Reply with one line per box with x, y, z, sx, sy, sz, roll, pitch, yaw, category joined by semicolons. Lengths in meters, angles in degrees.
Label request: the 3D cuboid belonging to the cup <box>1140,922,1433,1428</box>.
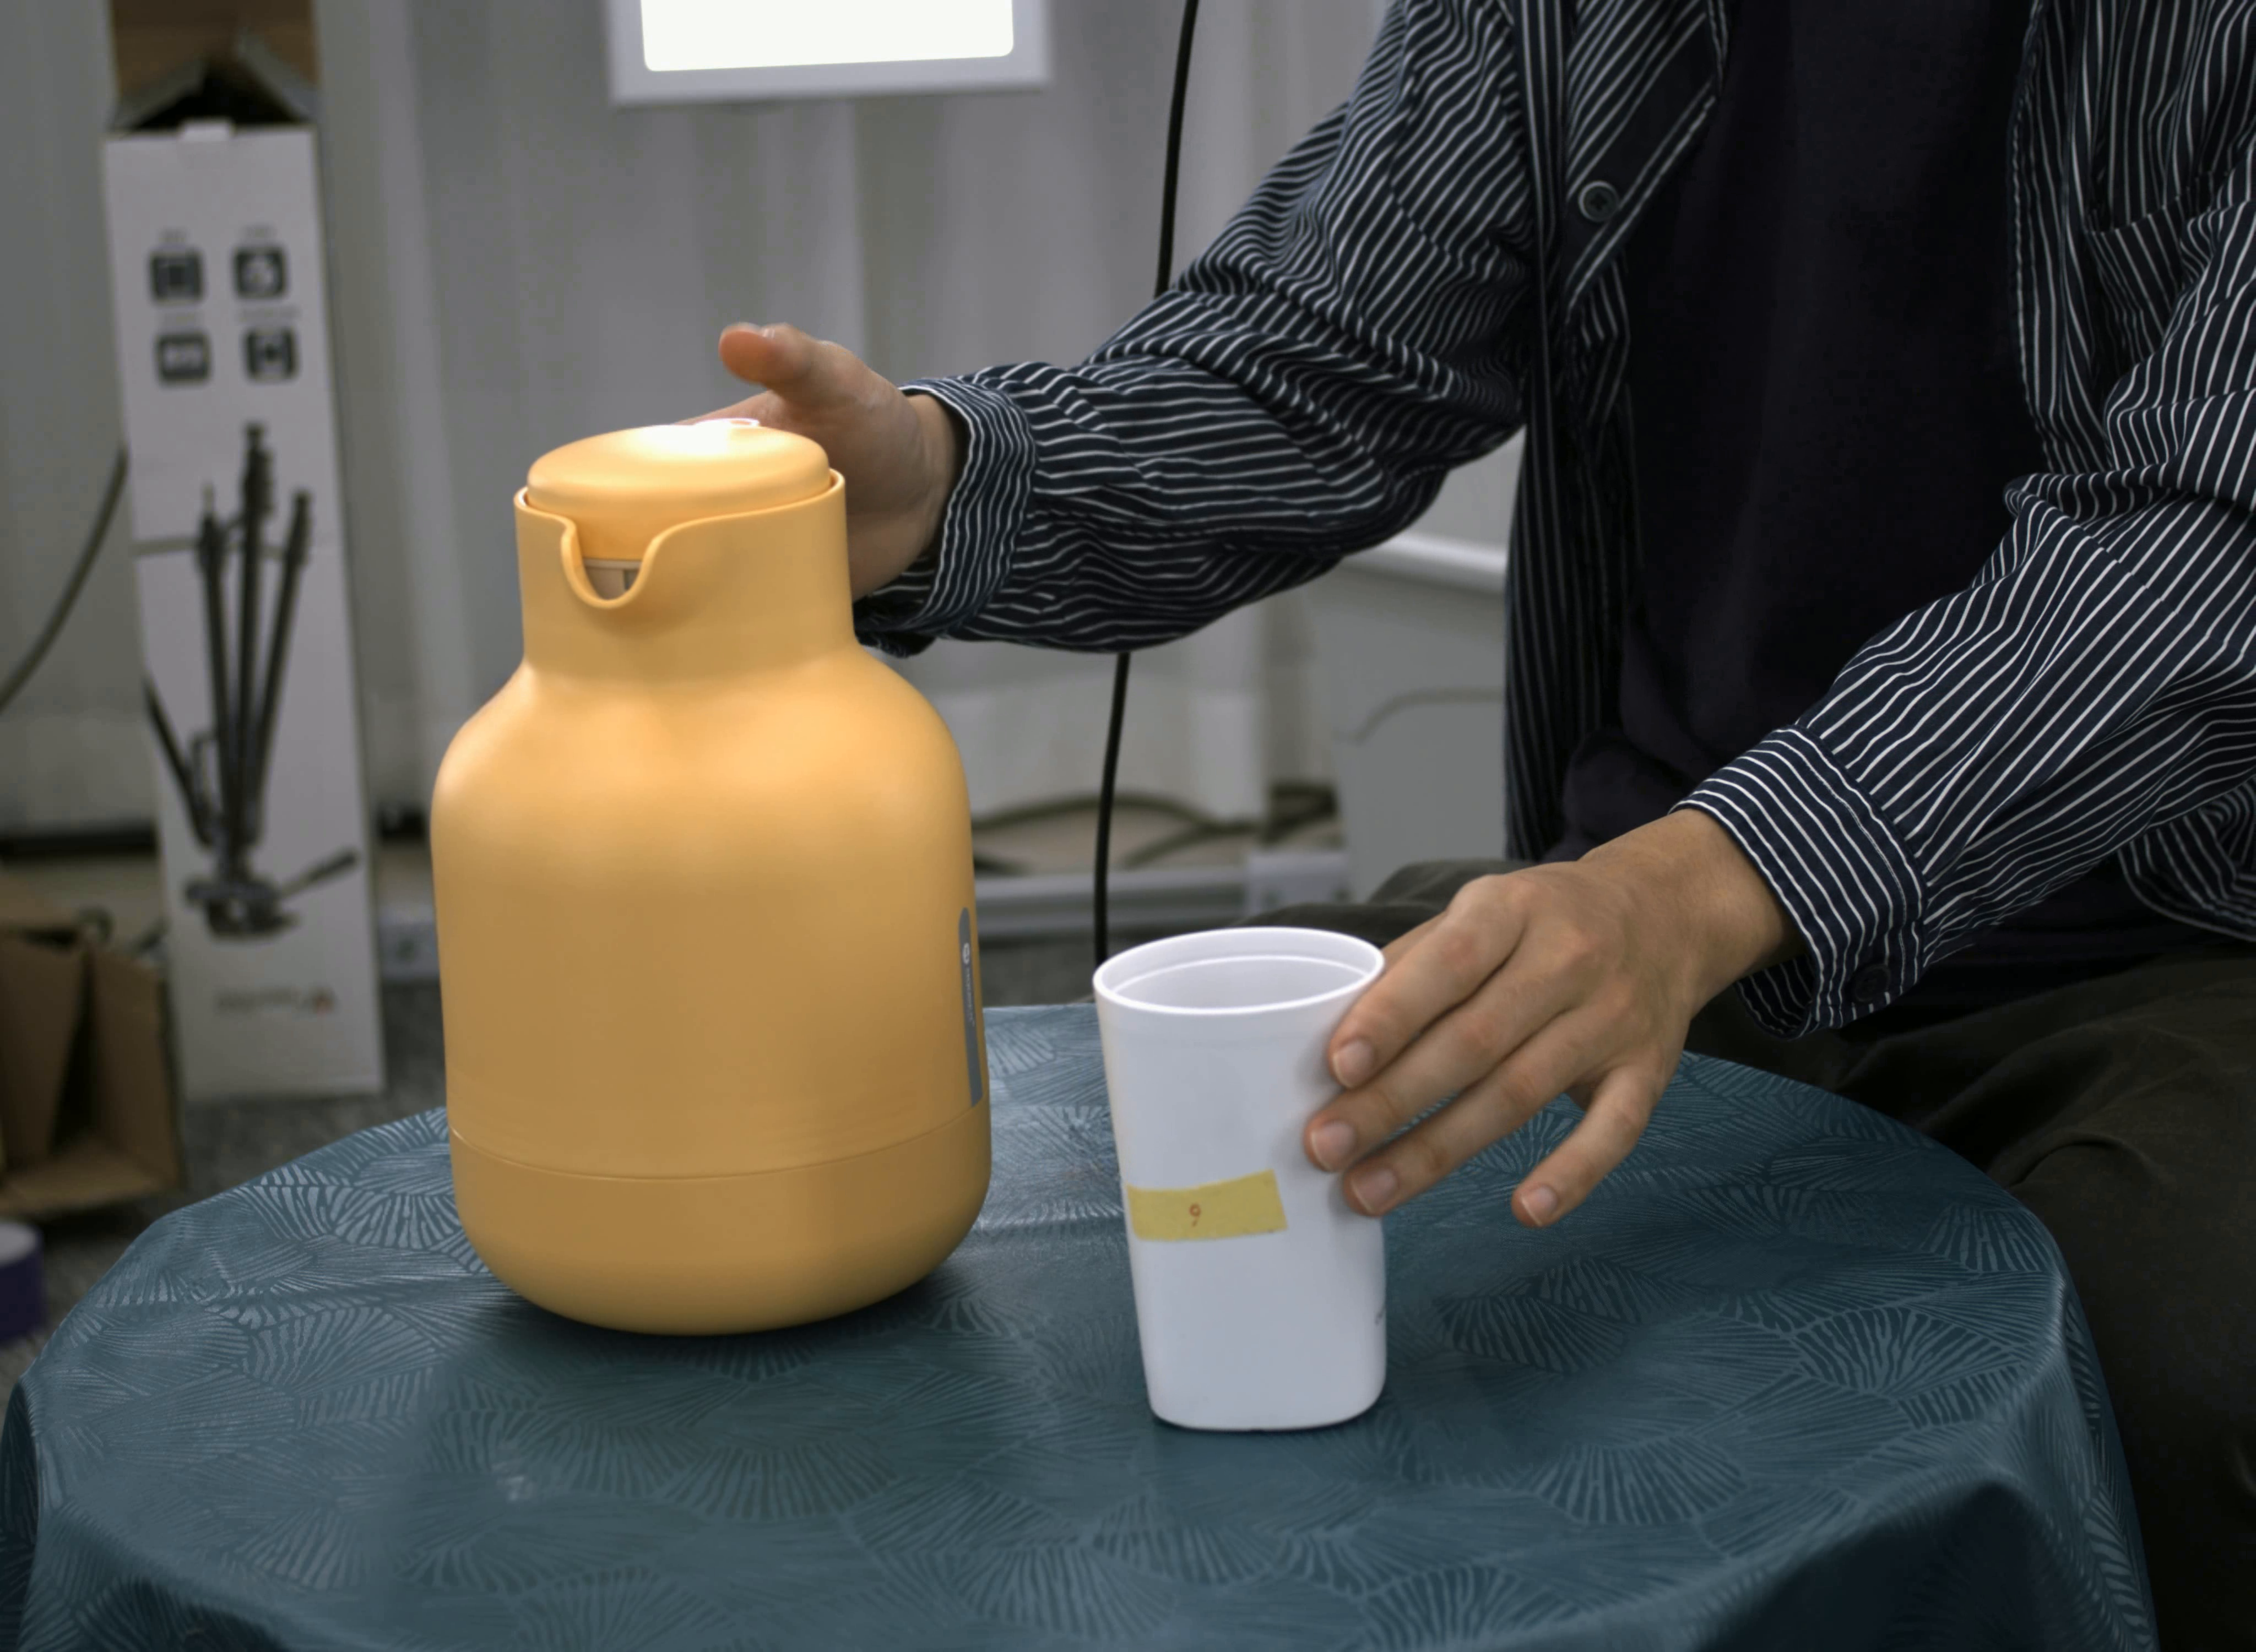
0.048;0.098;1.519;0.081;0.125;0.082;-4;13;1;cup

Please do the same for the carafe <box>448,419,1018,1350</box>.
-0.114;0.009;1.634;0.163;0.259;0.203;0;15;11;carafe
